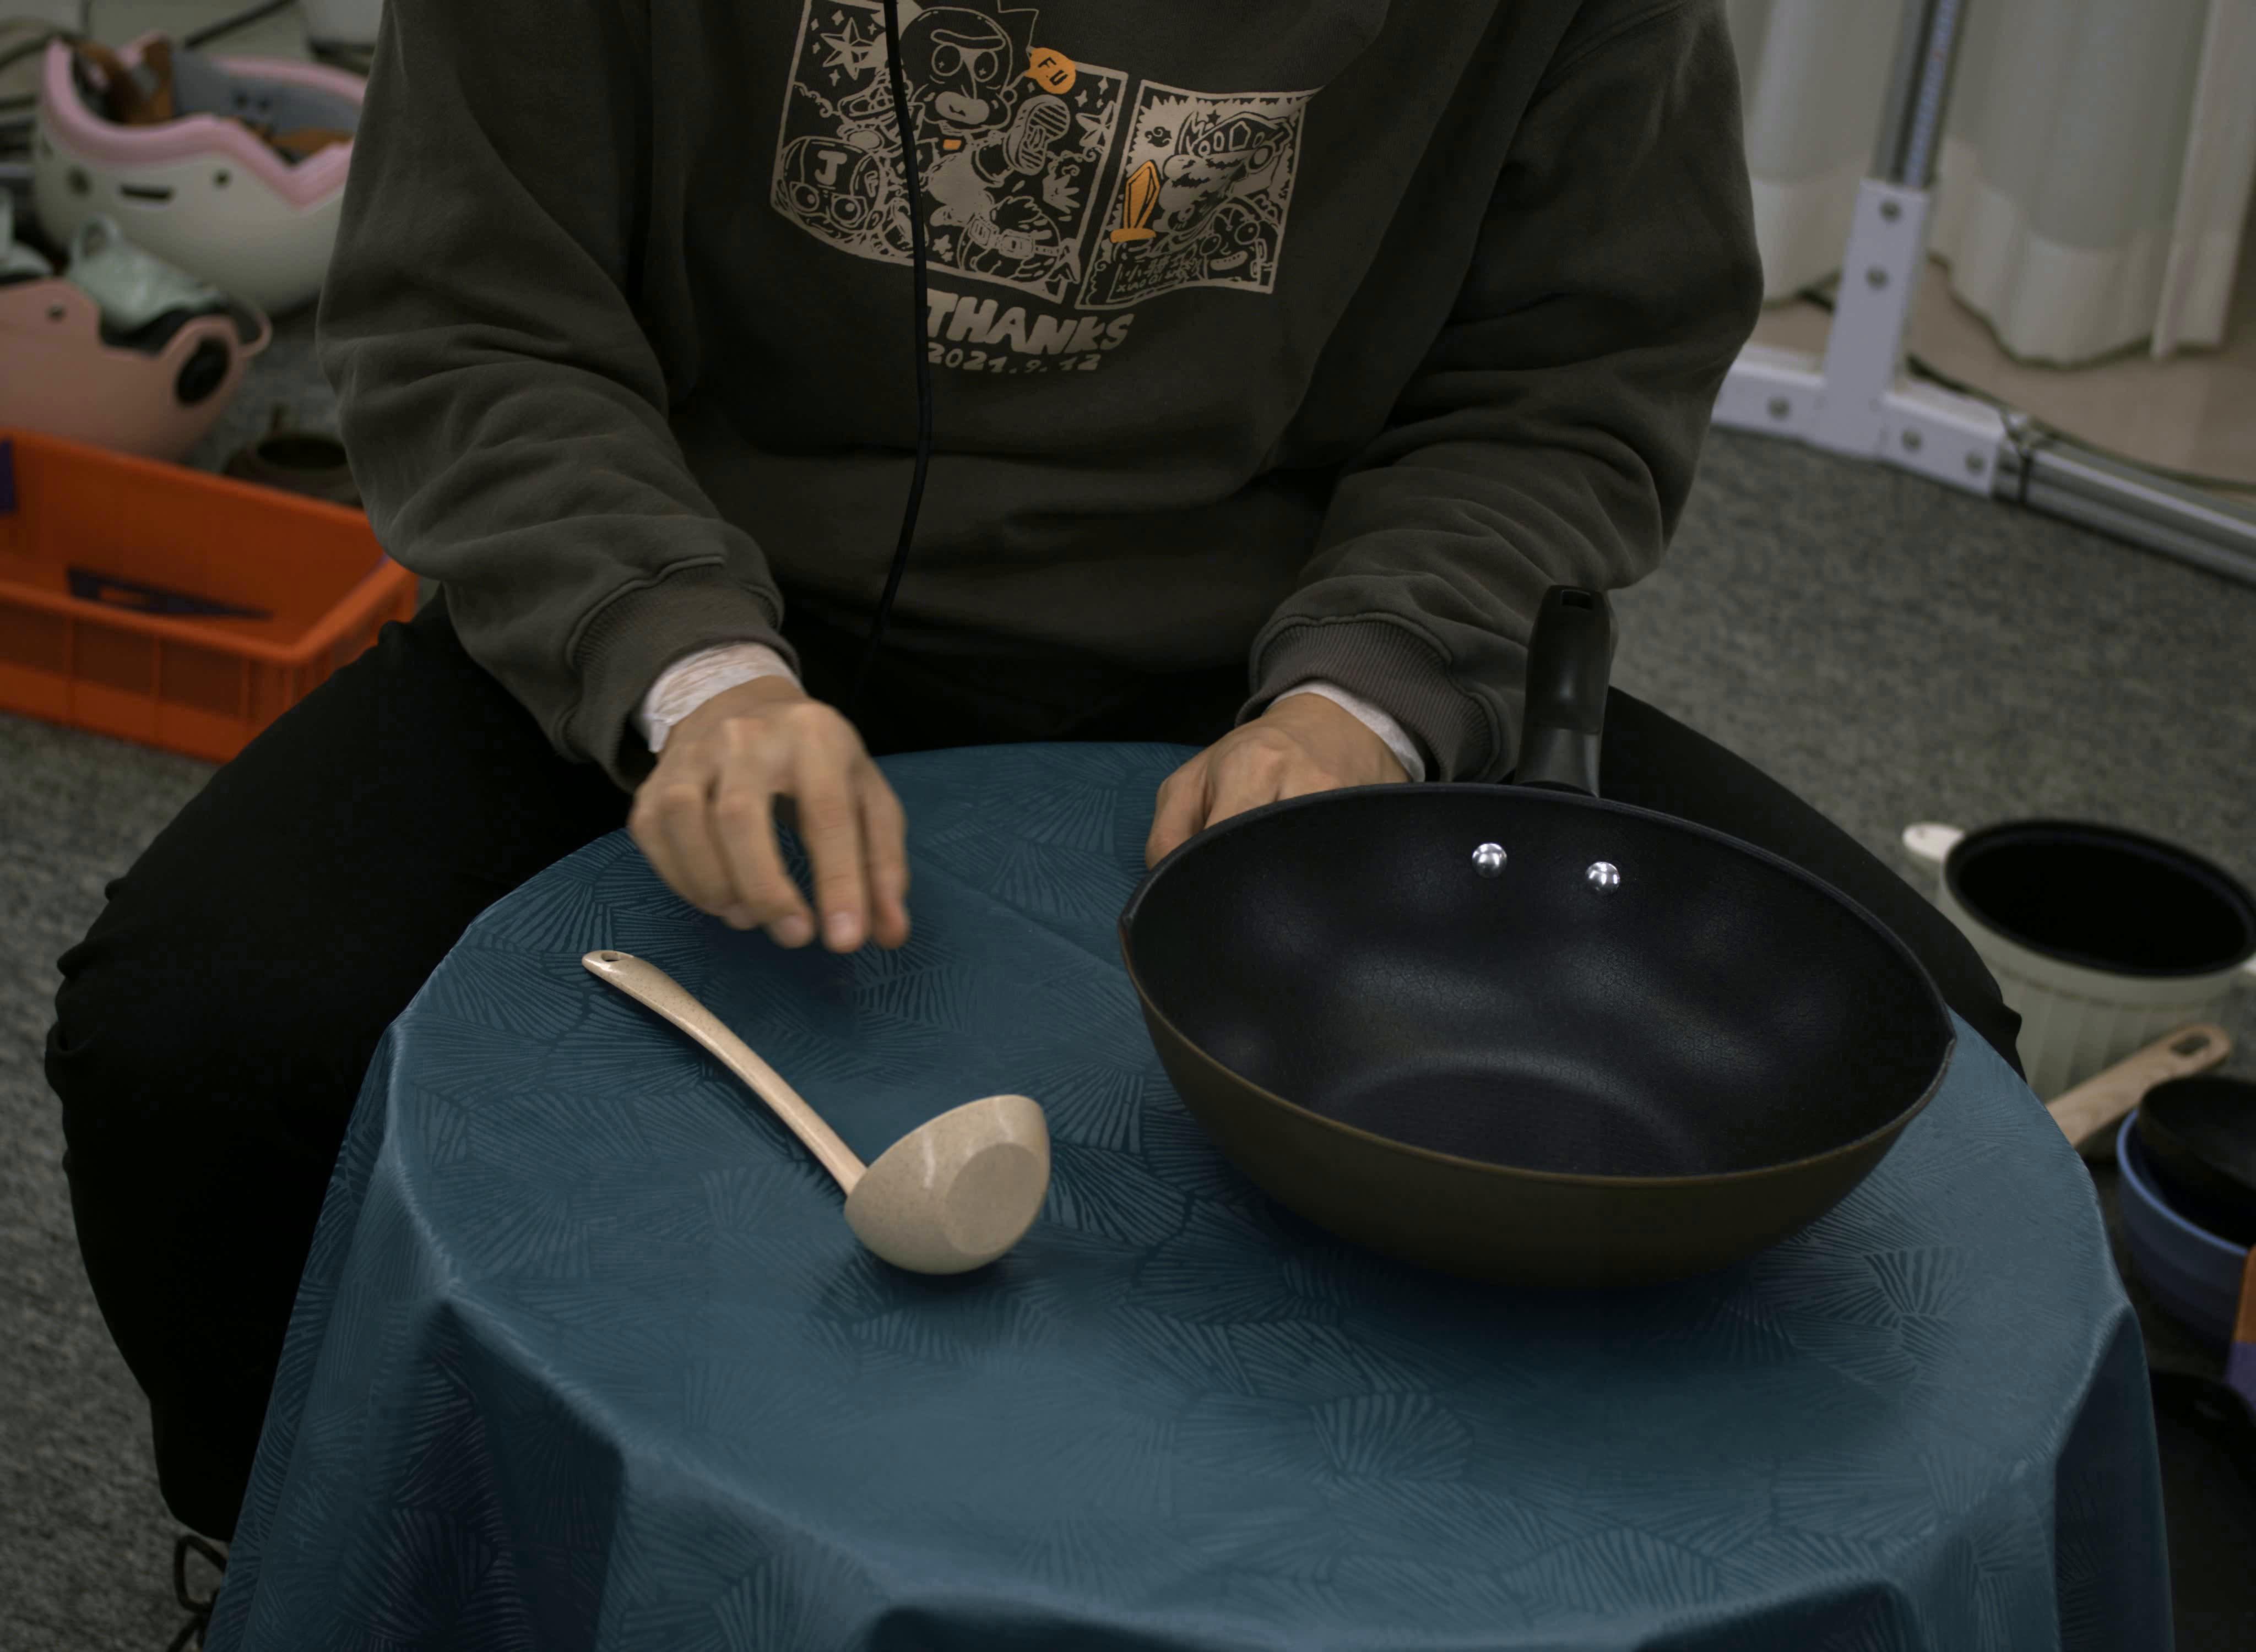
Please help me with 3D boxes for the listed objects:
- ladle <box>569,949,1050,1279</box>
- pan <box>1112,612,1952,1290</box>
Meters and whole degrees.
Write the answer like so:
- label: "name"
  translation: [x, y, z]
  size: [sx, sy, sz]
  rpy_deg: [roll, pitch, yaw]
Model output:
- label: "ladle"
  translation: [-0.119, 0.071, 1.801]
  size: [0.072, 0.072, 0.256]
  rpy_deg: [-19, 37, -32]
- label: "pan"
  translation: [0.144, 0.044, 1.903]
  size: [0.287, 0.086, 0.465]
  rpy_deg: [8, 25, 4]
